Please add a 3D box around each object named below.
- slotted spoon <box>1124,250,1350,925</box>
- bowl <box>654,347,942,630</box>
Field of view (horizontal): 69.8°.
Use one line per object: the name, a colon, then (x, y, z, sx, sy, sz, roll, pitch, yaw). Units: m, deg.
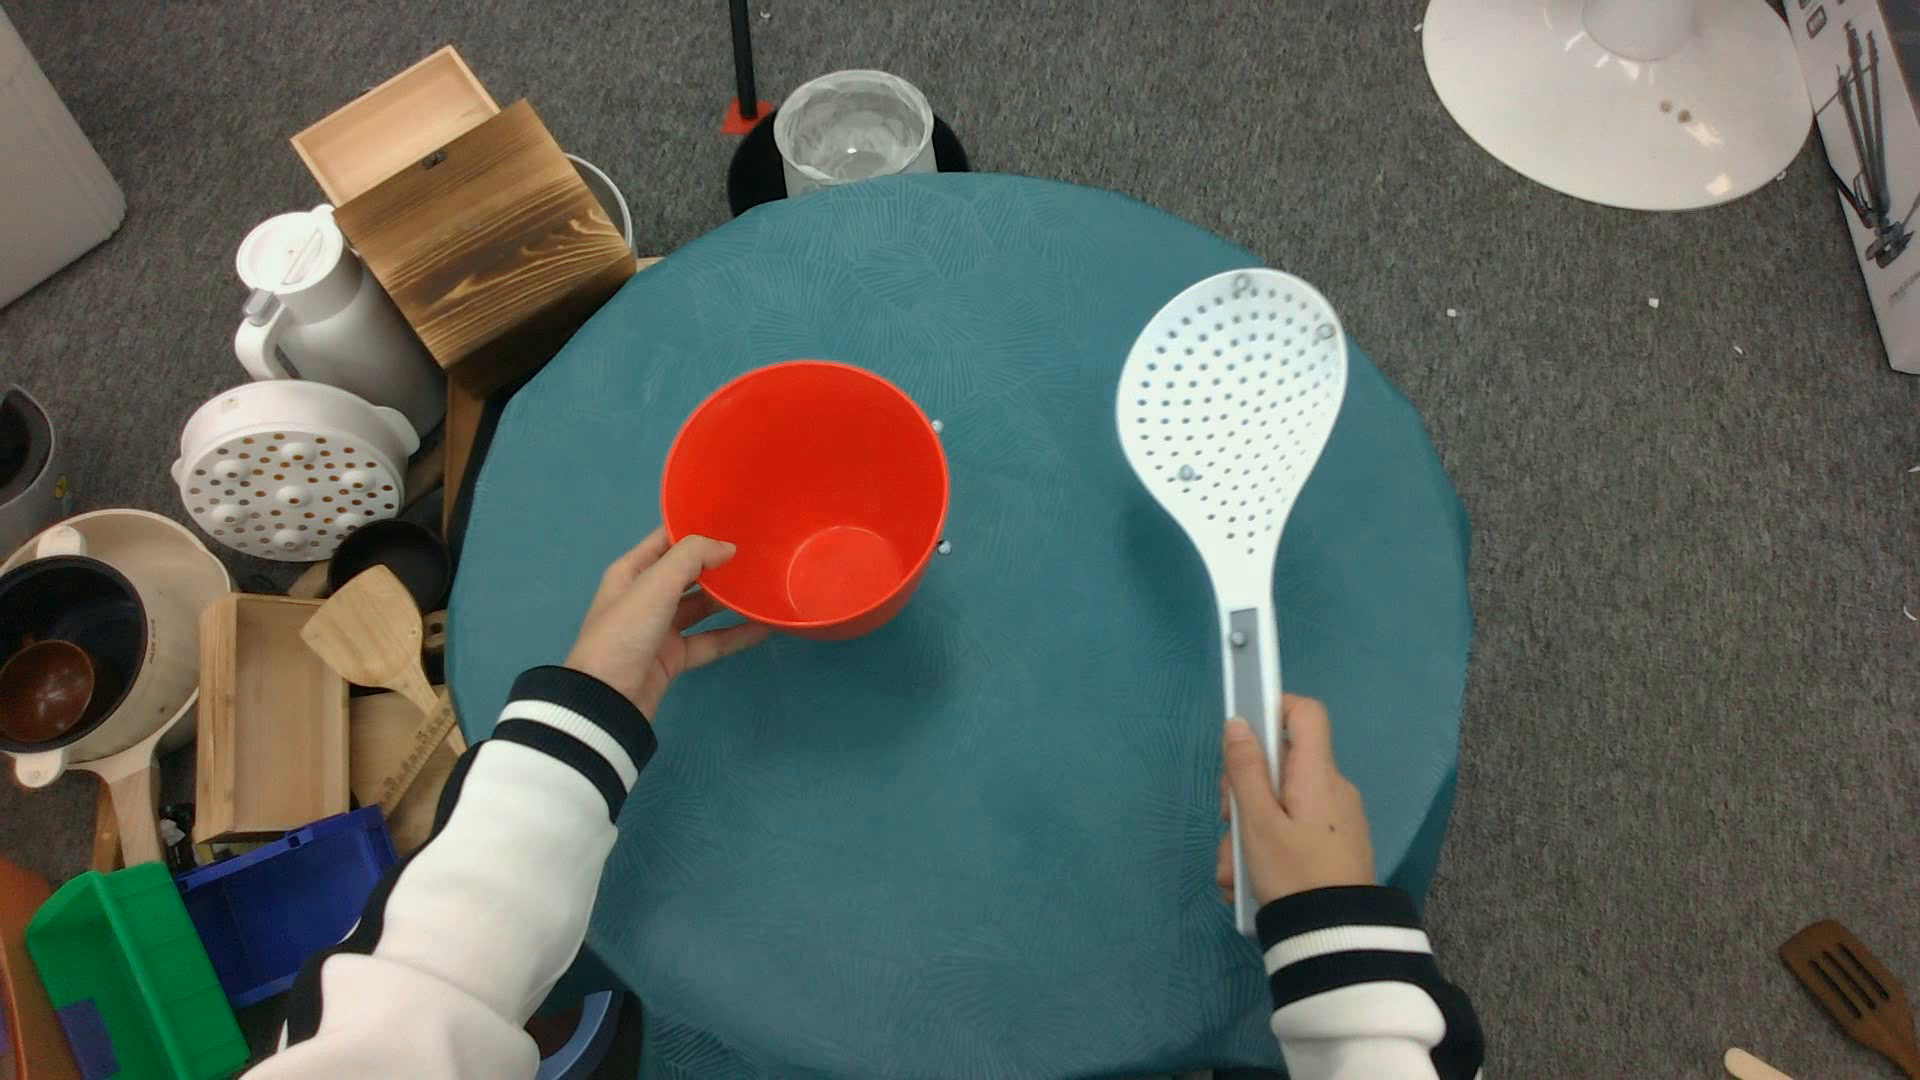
slotted spoon: (0.145, 0.015, 0.704, 0.135, 0.046, 0.351, -13, 63, 39)
bowl: (-0.081, -0.015, 0.743, 0.148, 0.104, 0.148, -1, 62, 2)
